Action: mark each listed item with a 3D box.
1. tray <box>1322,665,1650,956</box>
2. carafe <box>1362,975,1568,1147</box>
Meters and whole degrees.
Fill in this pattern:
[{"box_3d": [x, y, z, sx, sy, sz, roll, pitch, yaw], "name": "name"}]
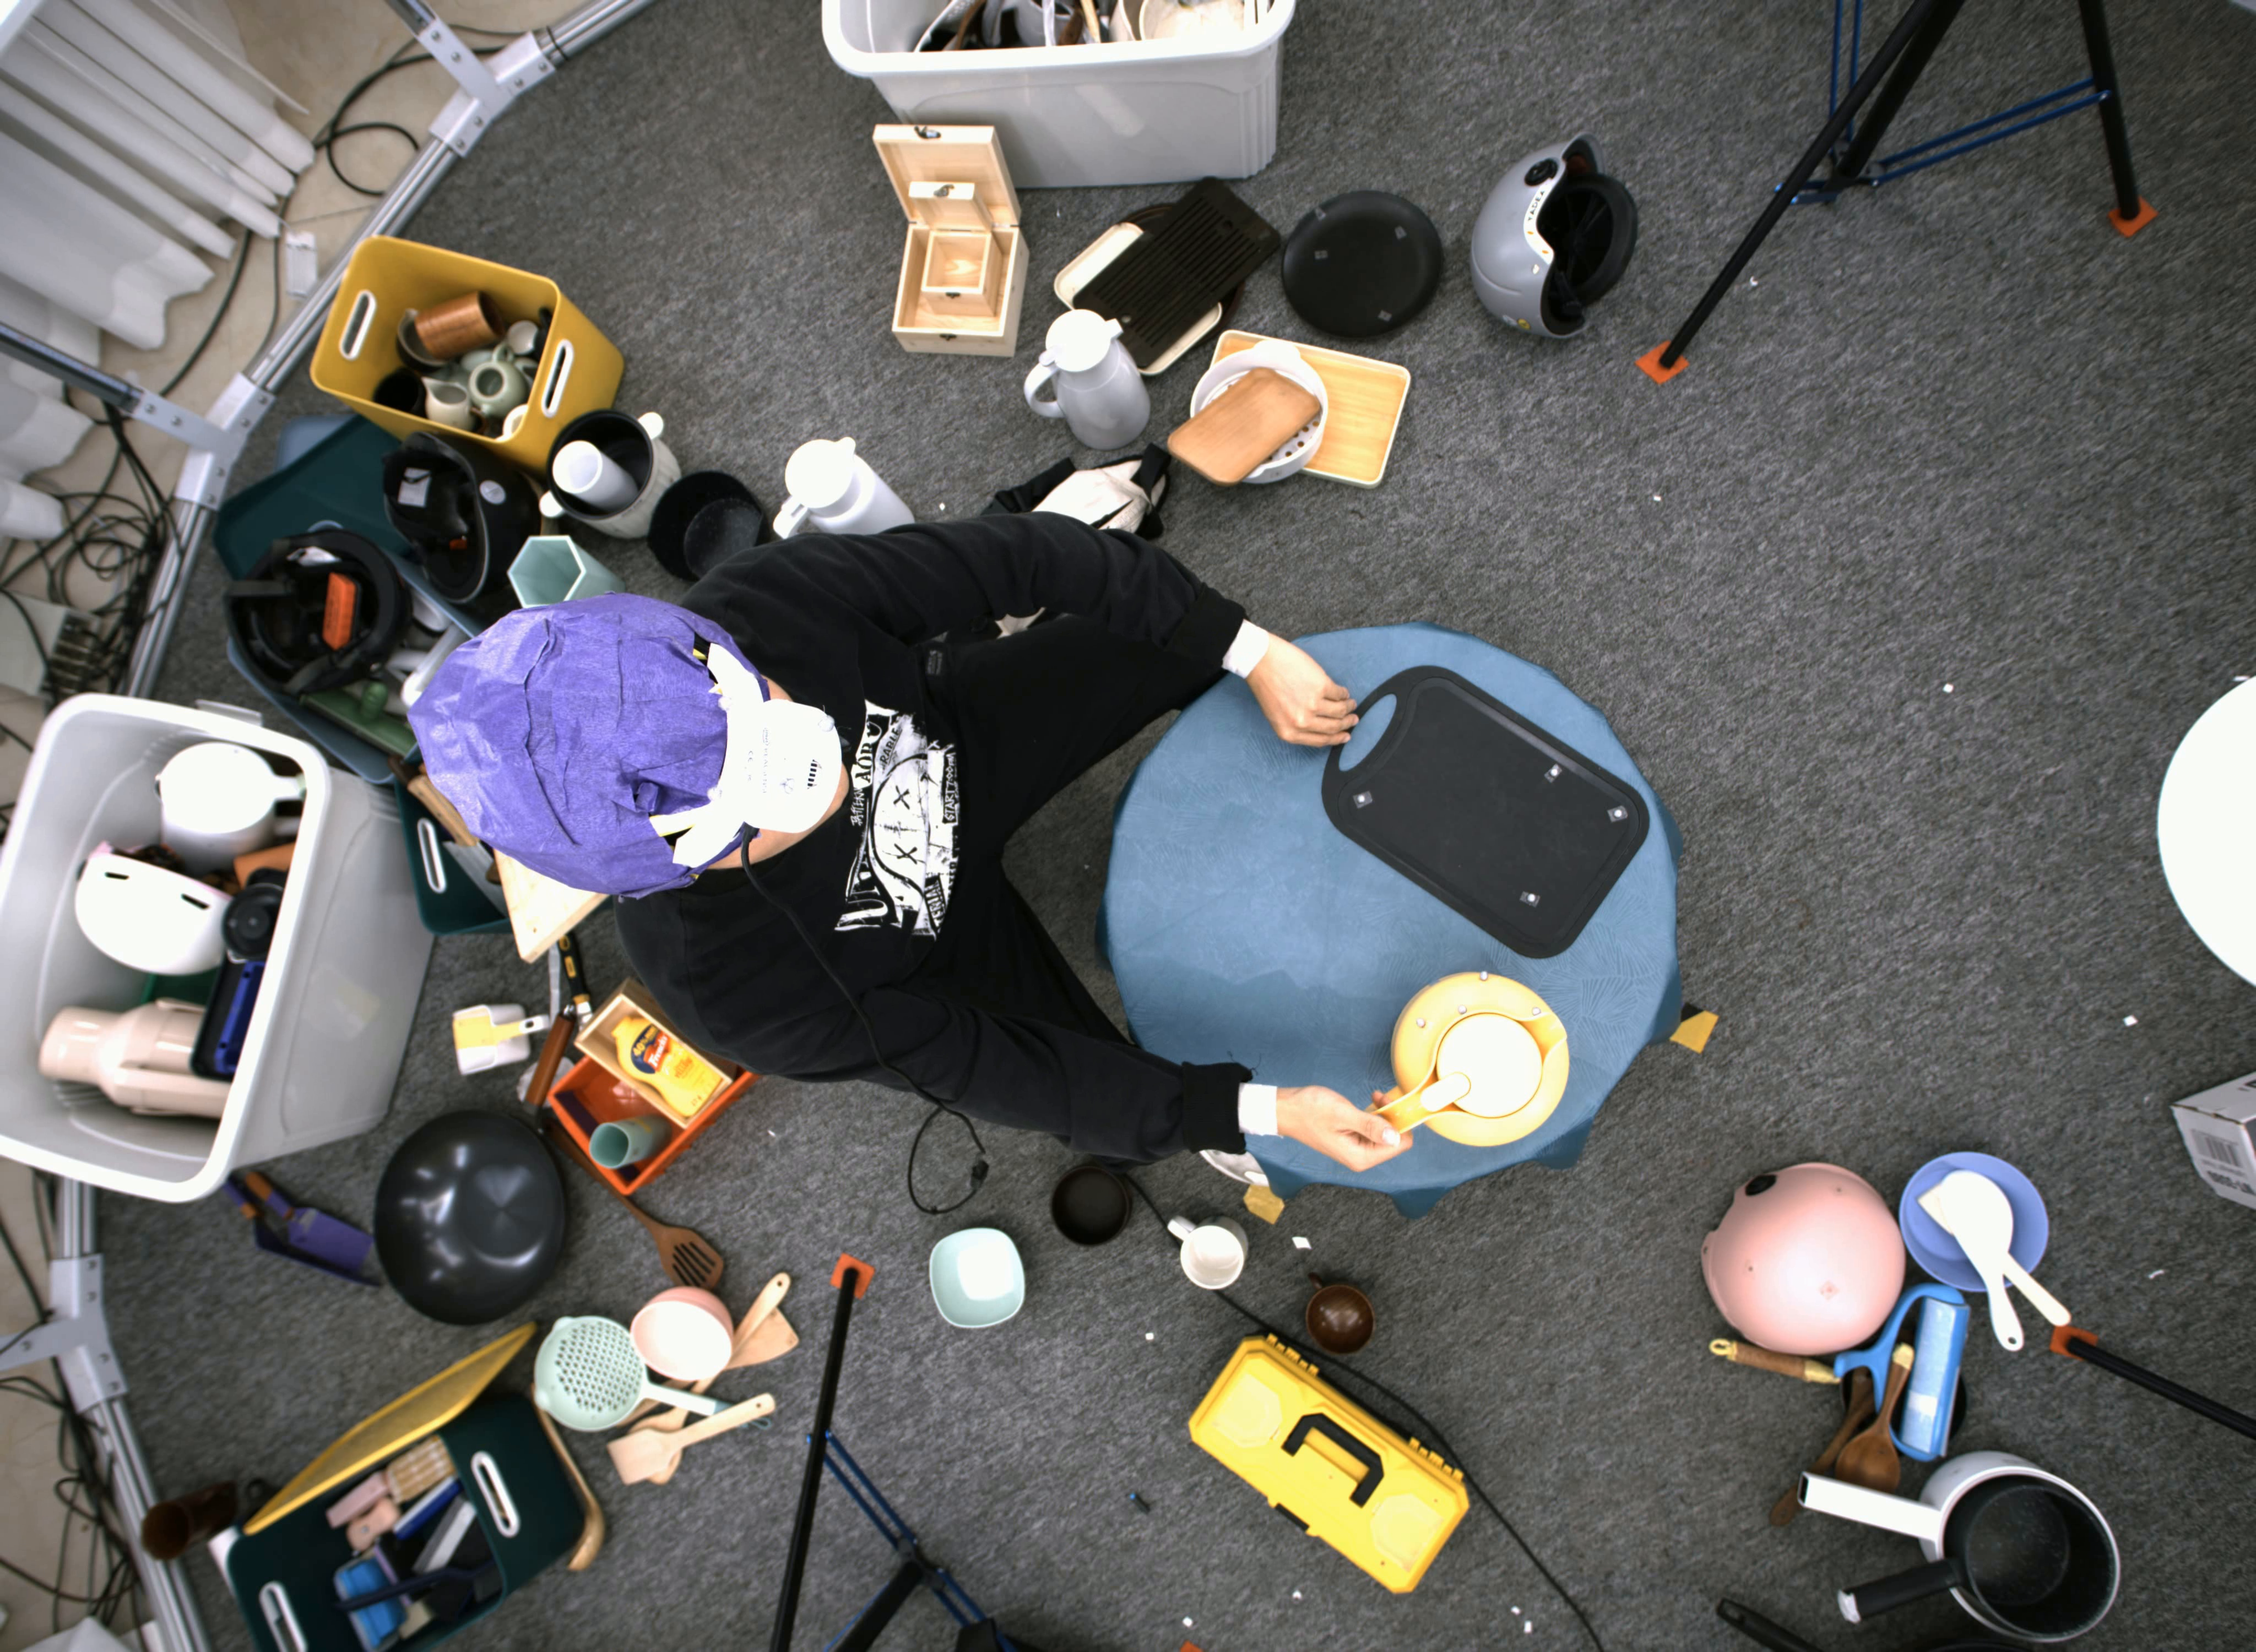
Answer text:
[{"box_3d": [0.366, -0.025, 1.444, 0.324, 0.010, 0.211, 36, 94, 10], "name": "tray"}, {"box_3d": [0.315, 0.228, 1.312, 0.203, 0.261, 0.162, -29, 79, 5], "name": "carafe"}]
